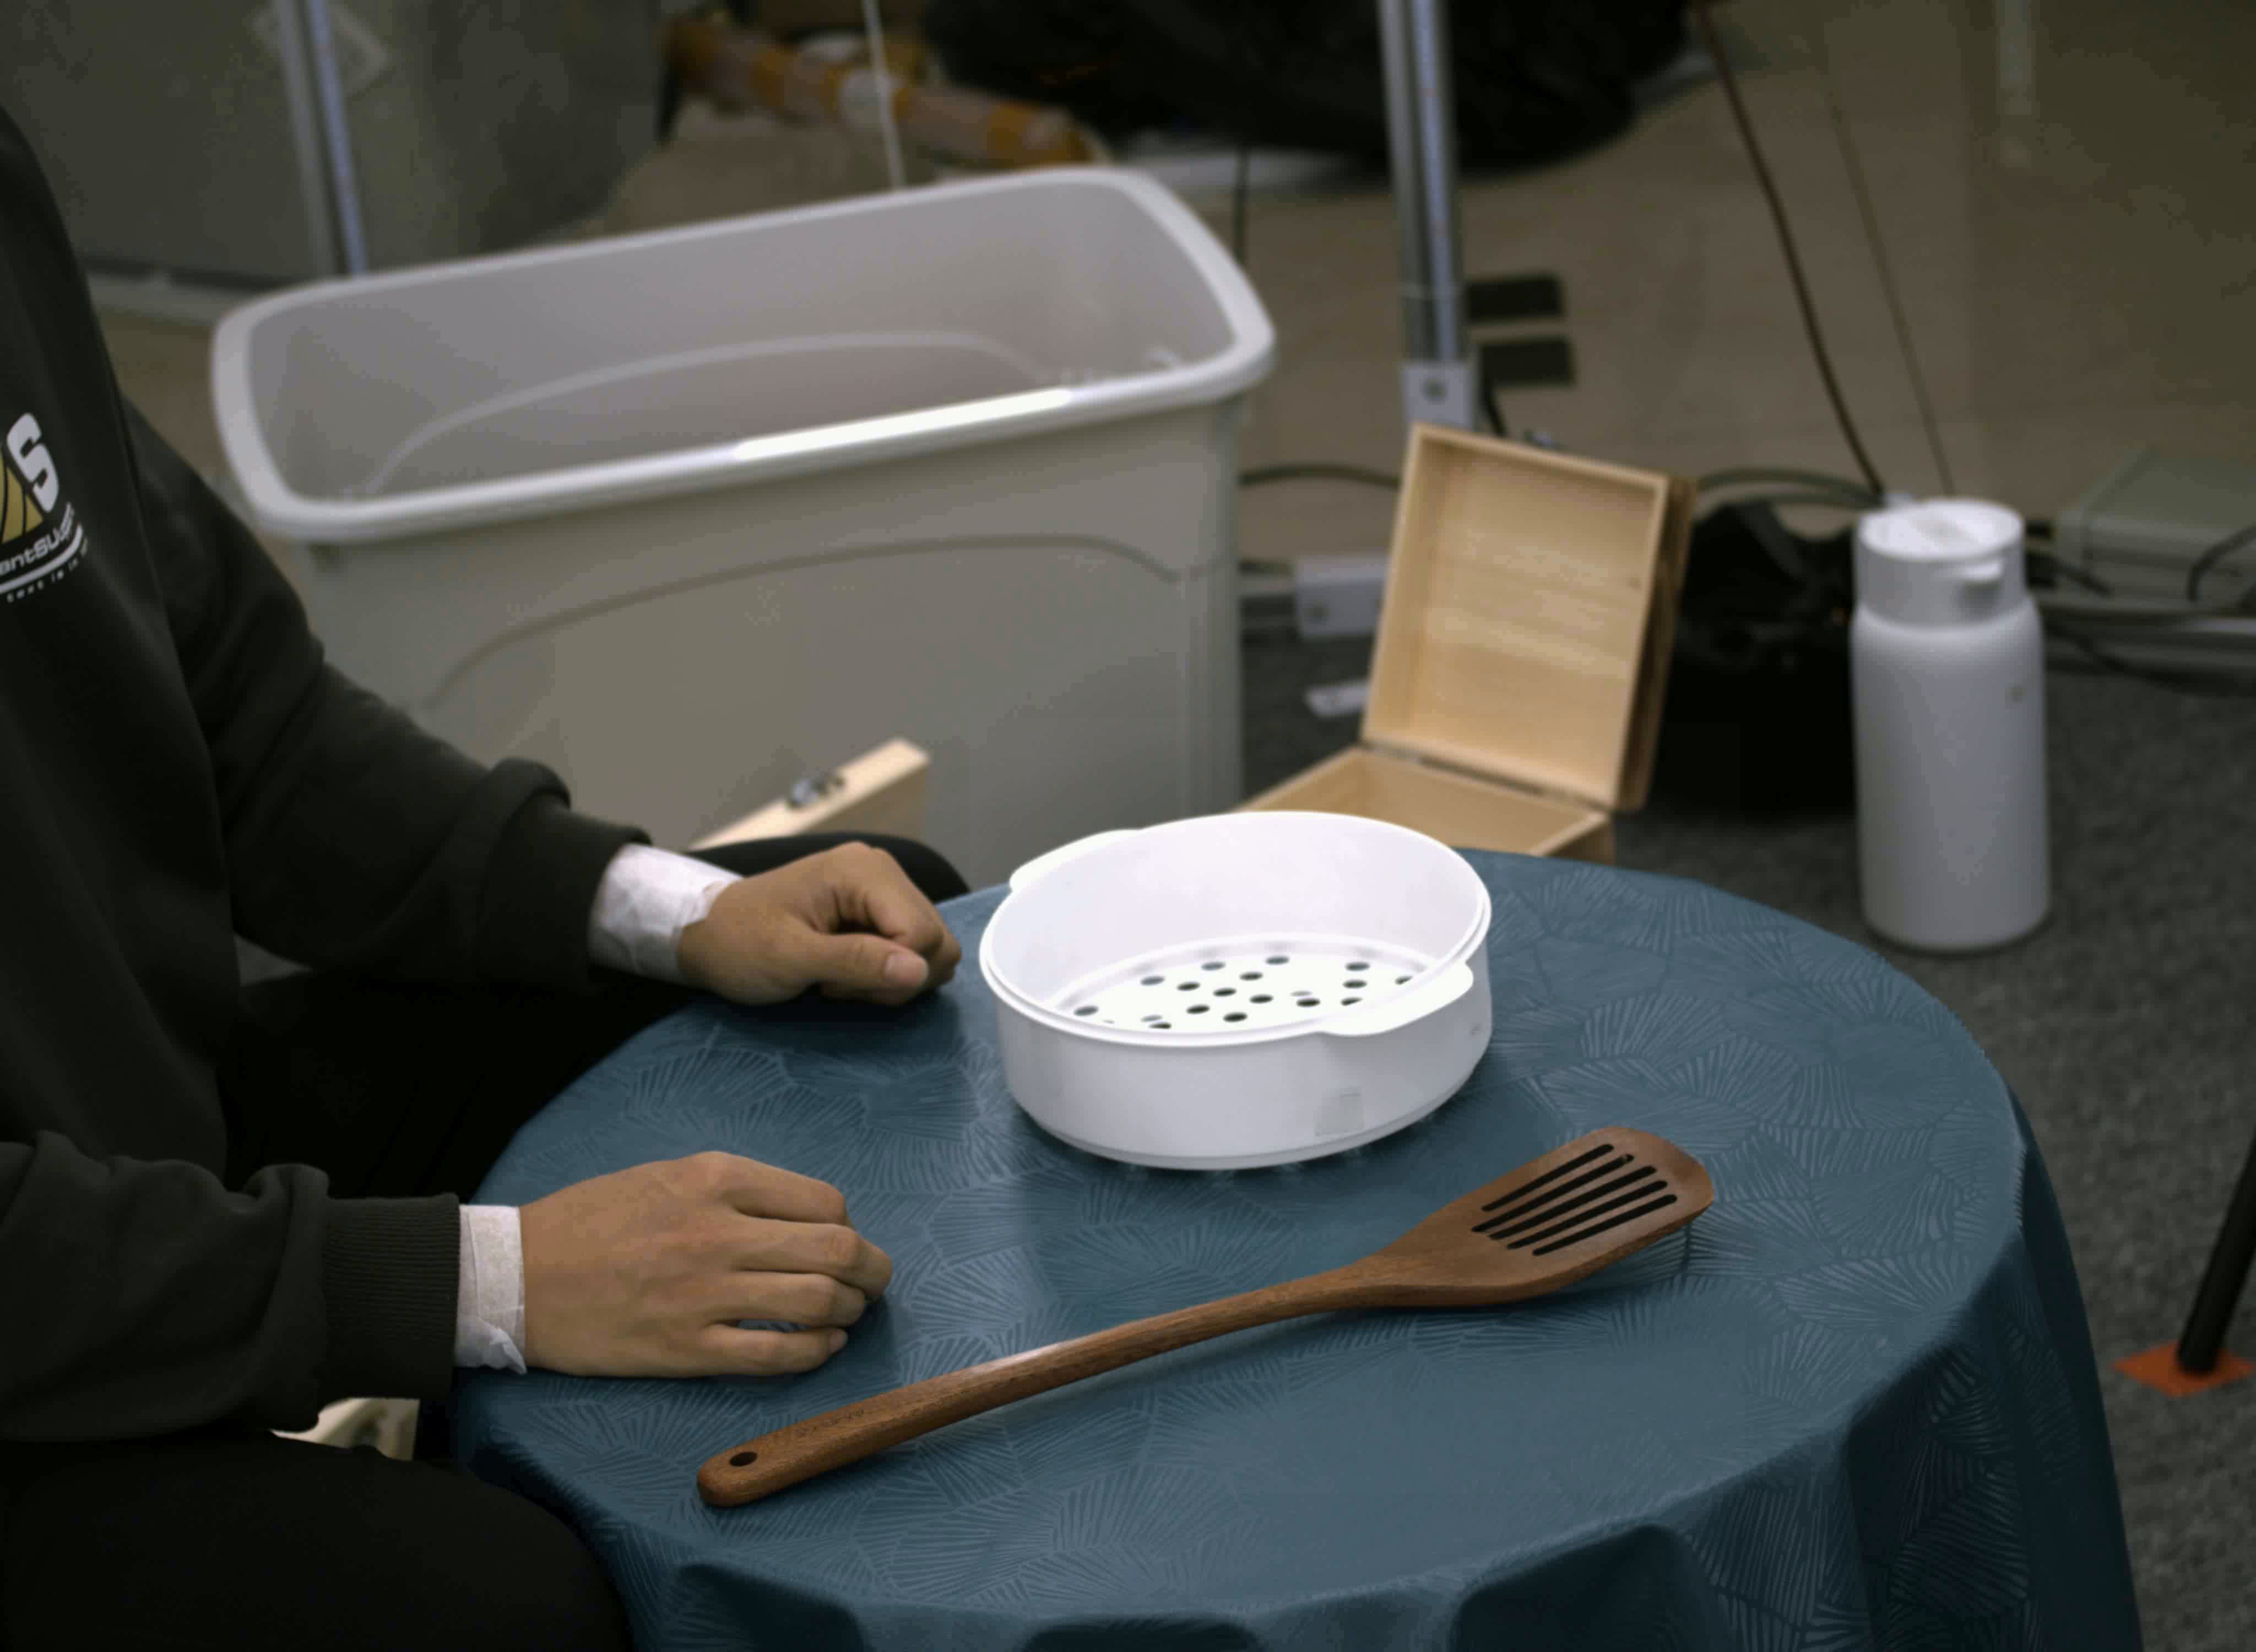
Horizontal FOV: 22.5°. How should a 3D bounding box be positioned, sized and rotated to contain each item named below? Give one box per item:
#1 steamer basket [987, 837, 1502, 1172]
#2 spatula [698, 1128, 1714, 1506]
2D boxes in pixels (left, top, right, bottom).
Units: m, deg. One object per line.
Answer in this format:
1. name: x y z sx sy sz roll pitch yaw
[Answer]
1. steamer basket: 0.048 0.070 2.216 0.200 0.070 0.229 -21 25 -33
2. spatula: 0.029 0.181 2.029 0.384 0.024 0.085 -16 24 -17
